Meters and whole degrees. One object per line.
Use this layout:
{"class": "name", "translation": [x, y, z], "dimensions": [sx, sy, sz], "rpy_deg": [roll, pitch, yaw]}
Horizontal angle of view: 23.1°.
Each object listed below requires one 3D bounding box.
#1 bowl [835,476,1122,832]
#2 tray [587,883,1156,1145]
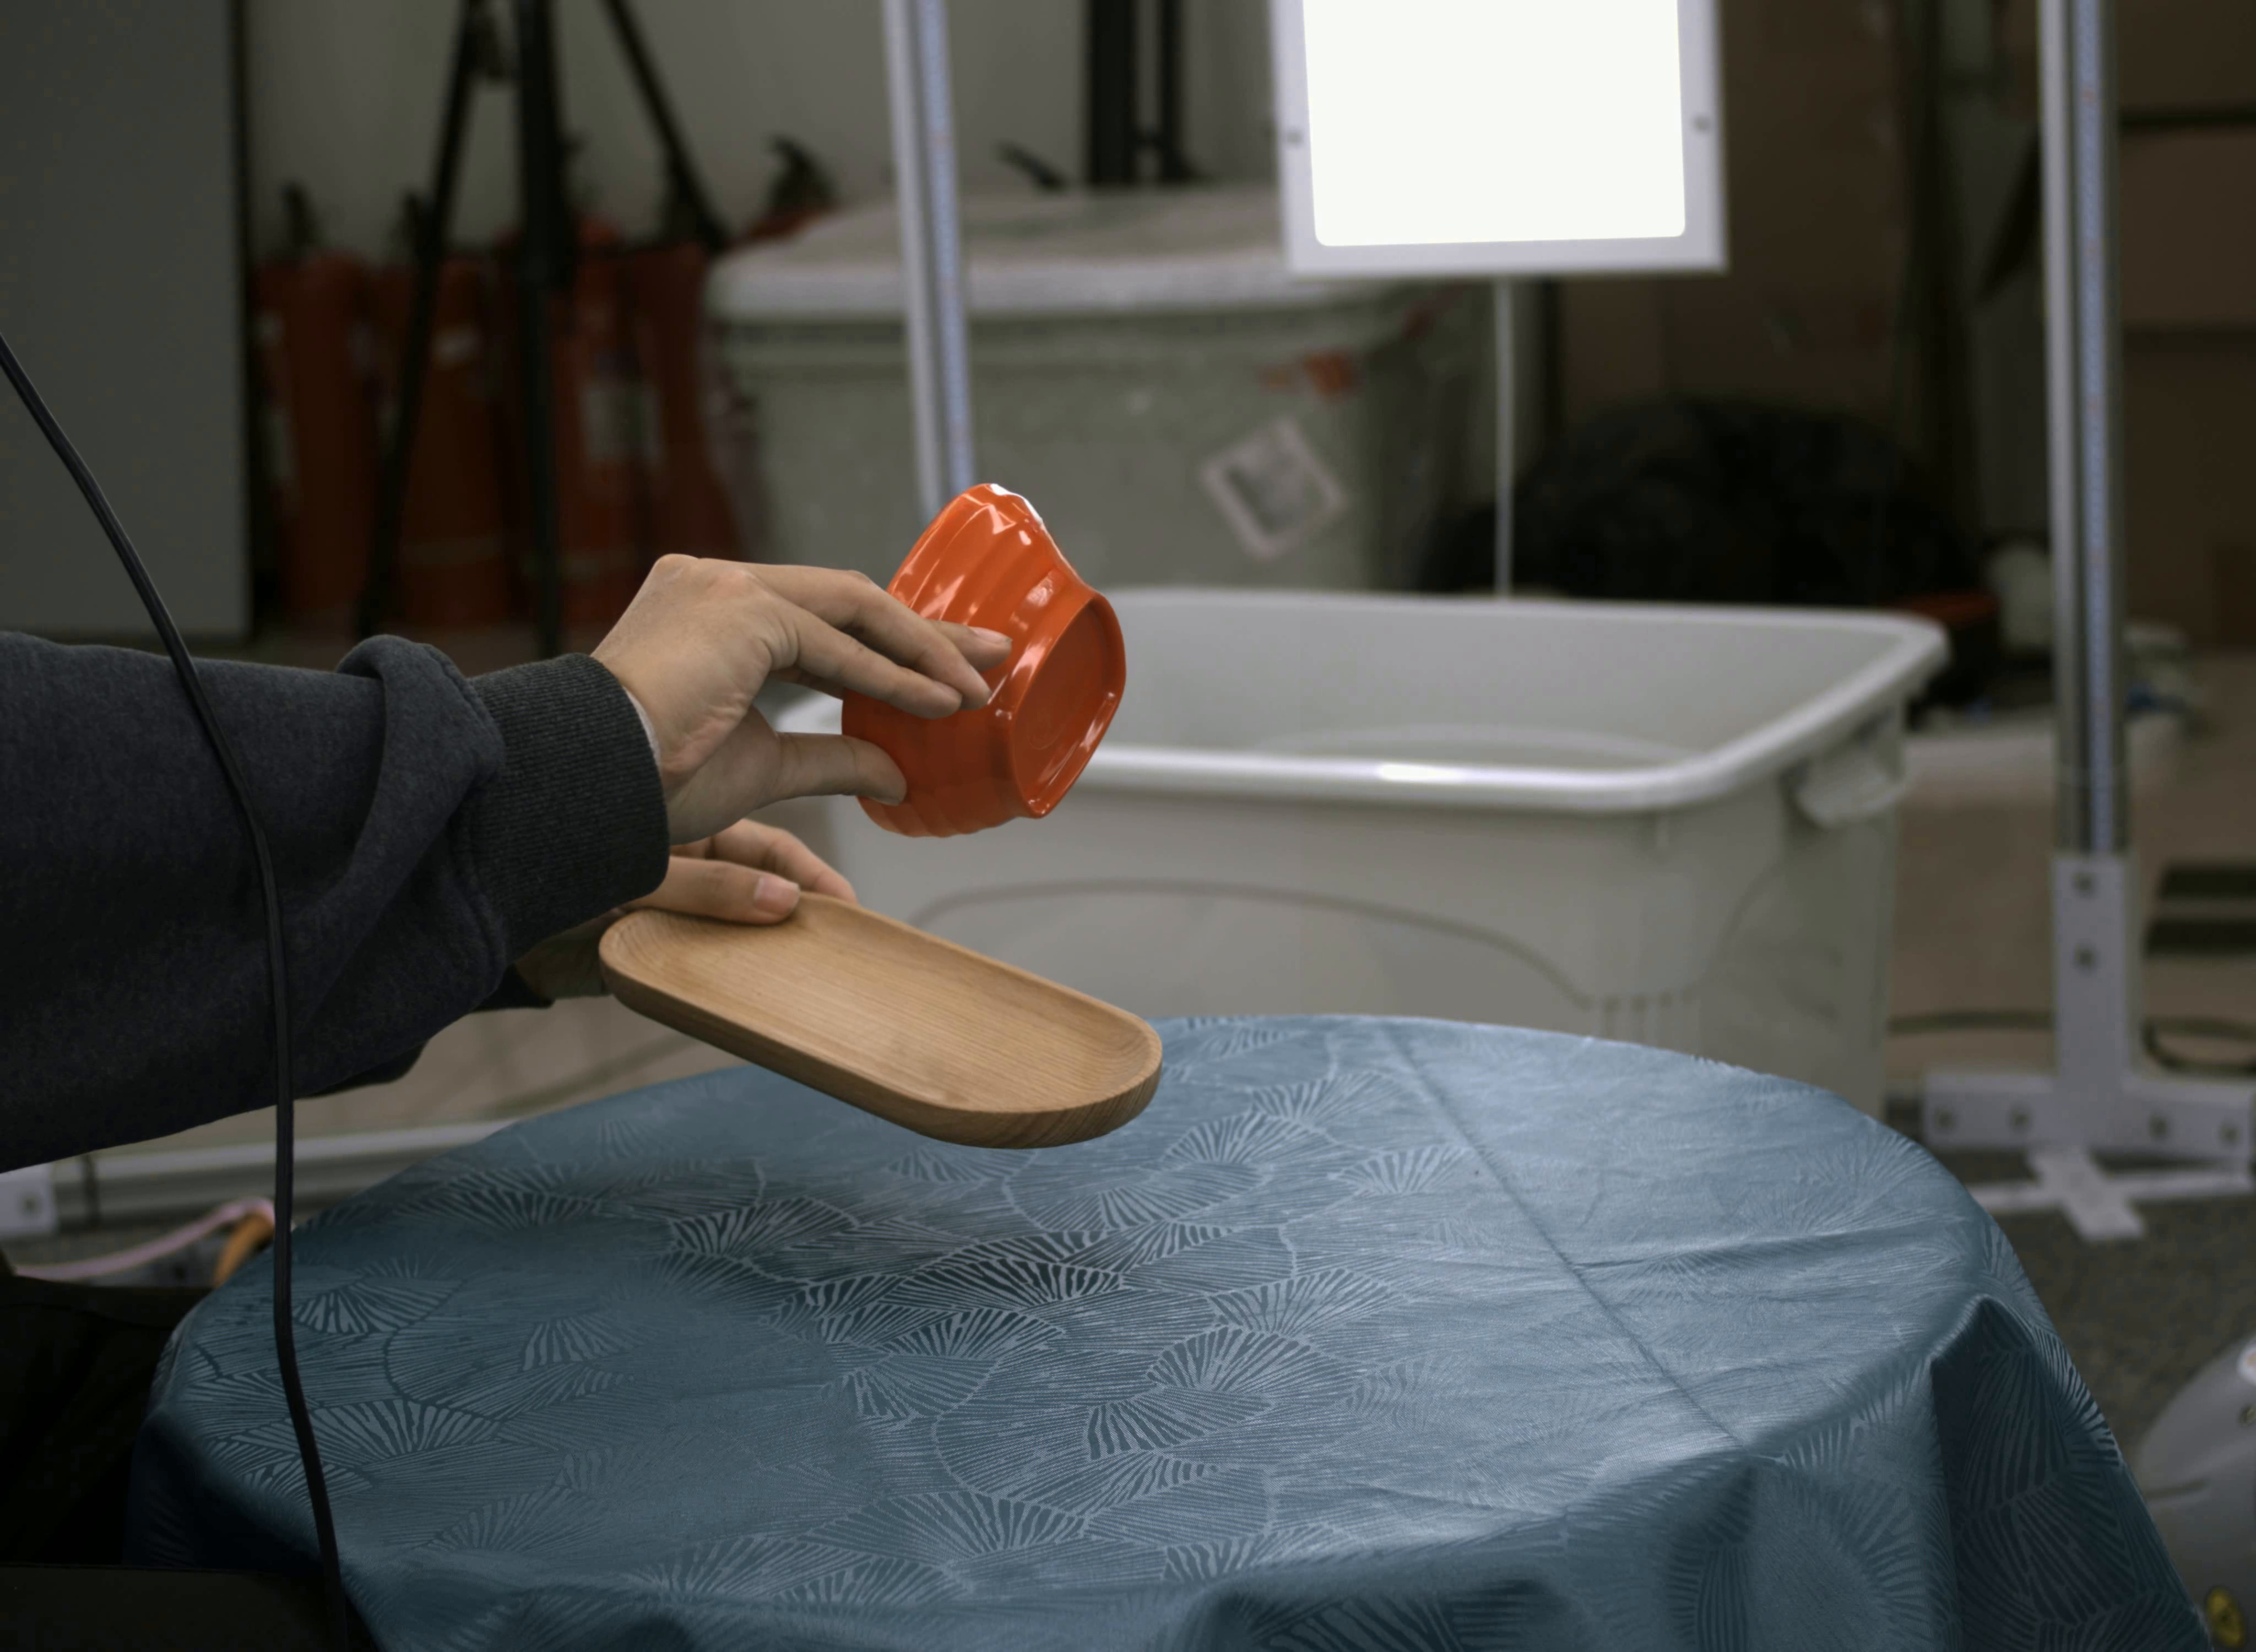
{"class": "bowl", "translation": [-0.041, -0.047, 1.748], "dimensions": [0.052, 0.120, 0.116], "rpy_deg": [24, 25, 23]}
{"class": "tray", "translation": [-0.088, 0.062, 1.850], "dimensions": [0.236, 0.020, 0.099], "rpy_deg": [18, 27, 42]}
